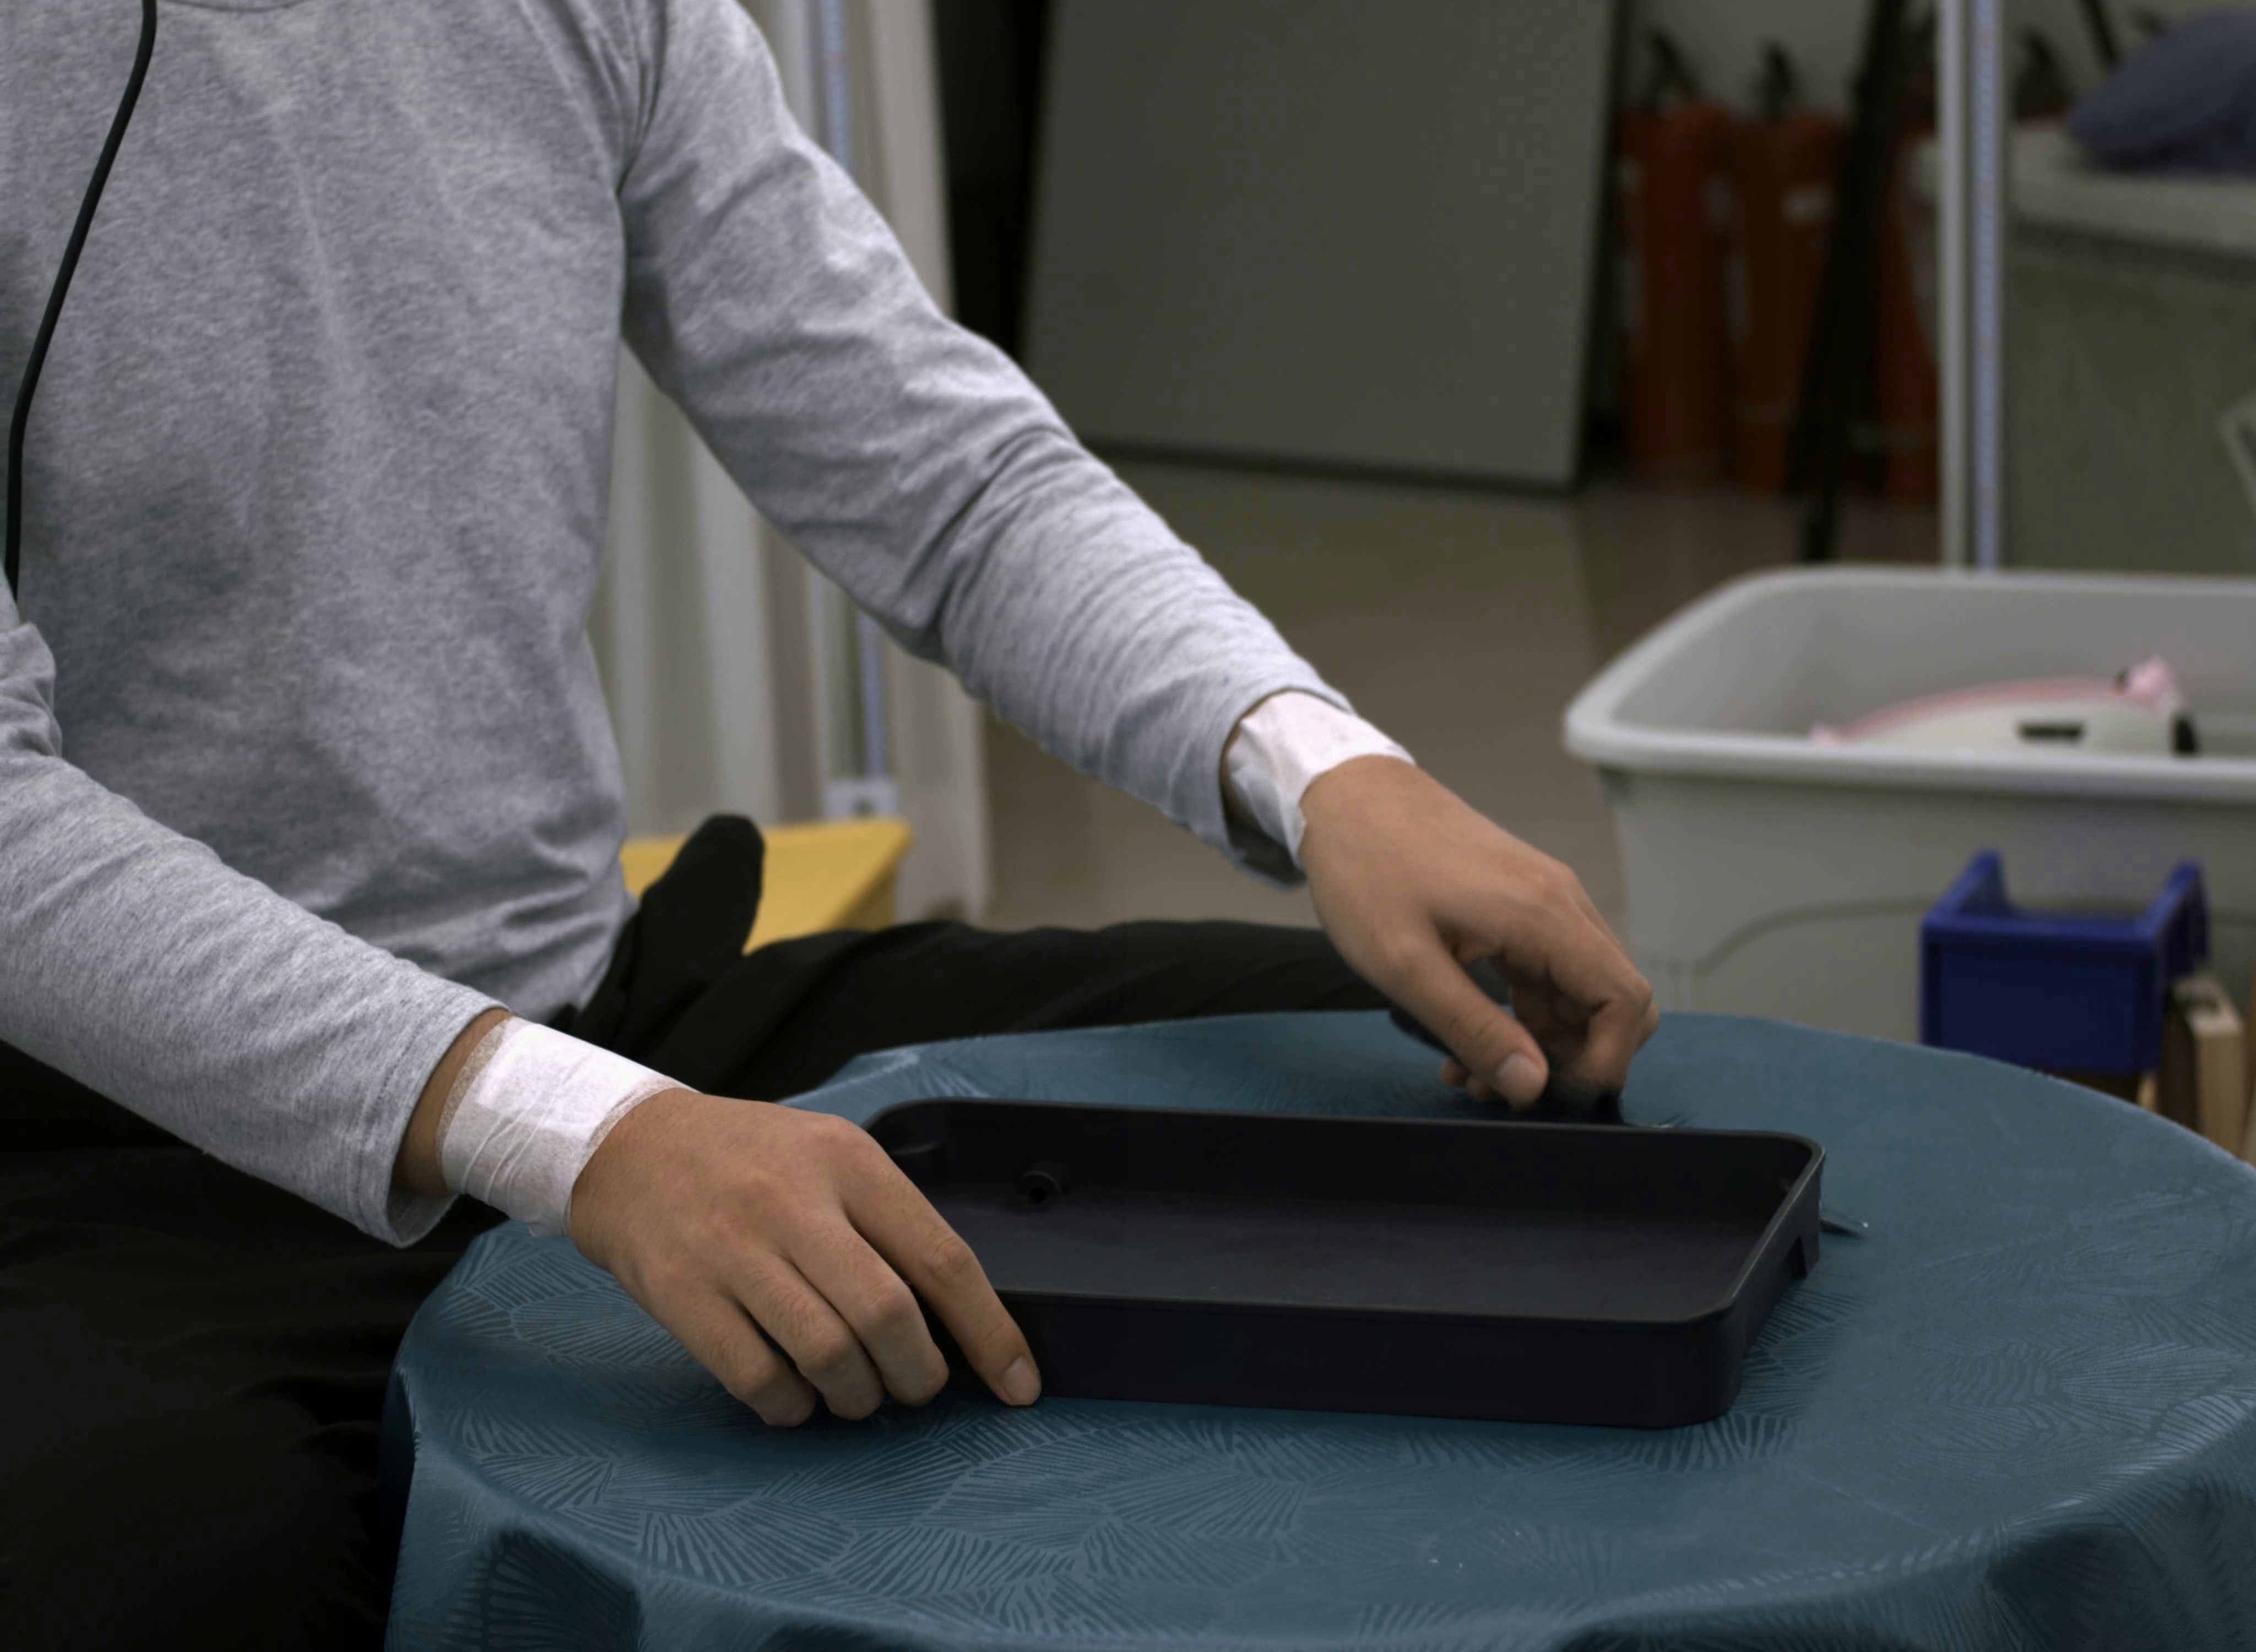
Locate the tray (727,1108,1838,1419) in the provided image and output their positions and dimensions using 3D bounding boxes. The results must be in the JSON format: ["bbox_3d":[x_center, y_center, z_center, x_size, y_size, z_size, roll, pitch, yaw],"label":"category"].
[{"bbox_3d":[0.051,0.131,1.645,0.317,0.037,0.182,0,13,18],"label":"tray"}]

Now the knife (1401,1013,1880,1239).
[{"bbox_3d":[0.164,0.098,1.769,0.024,0.016,0.241,36,-8,-37],"label":"knife"}]
